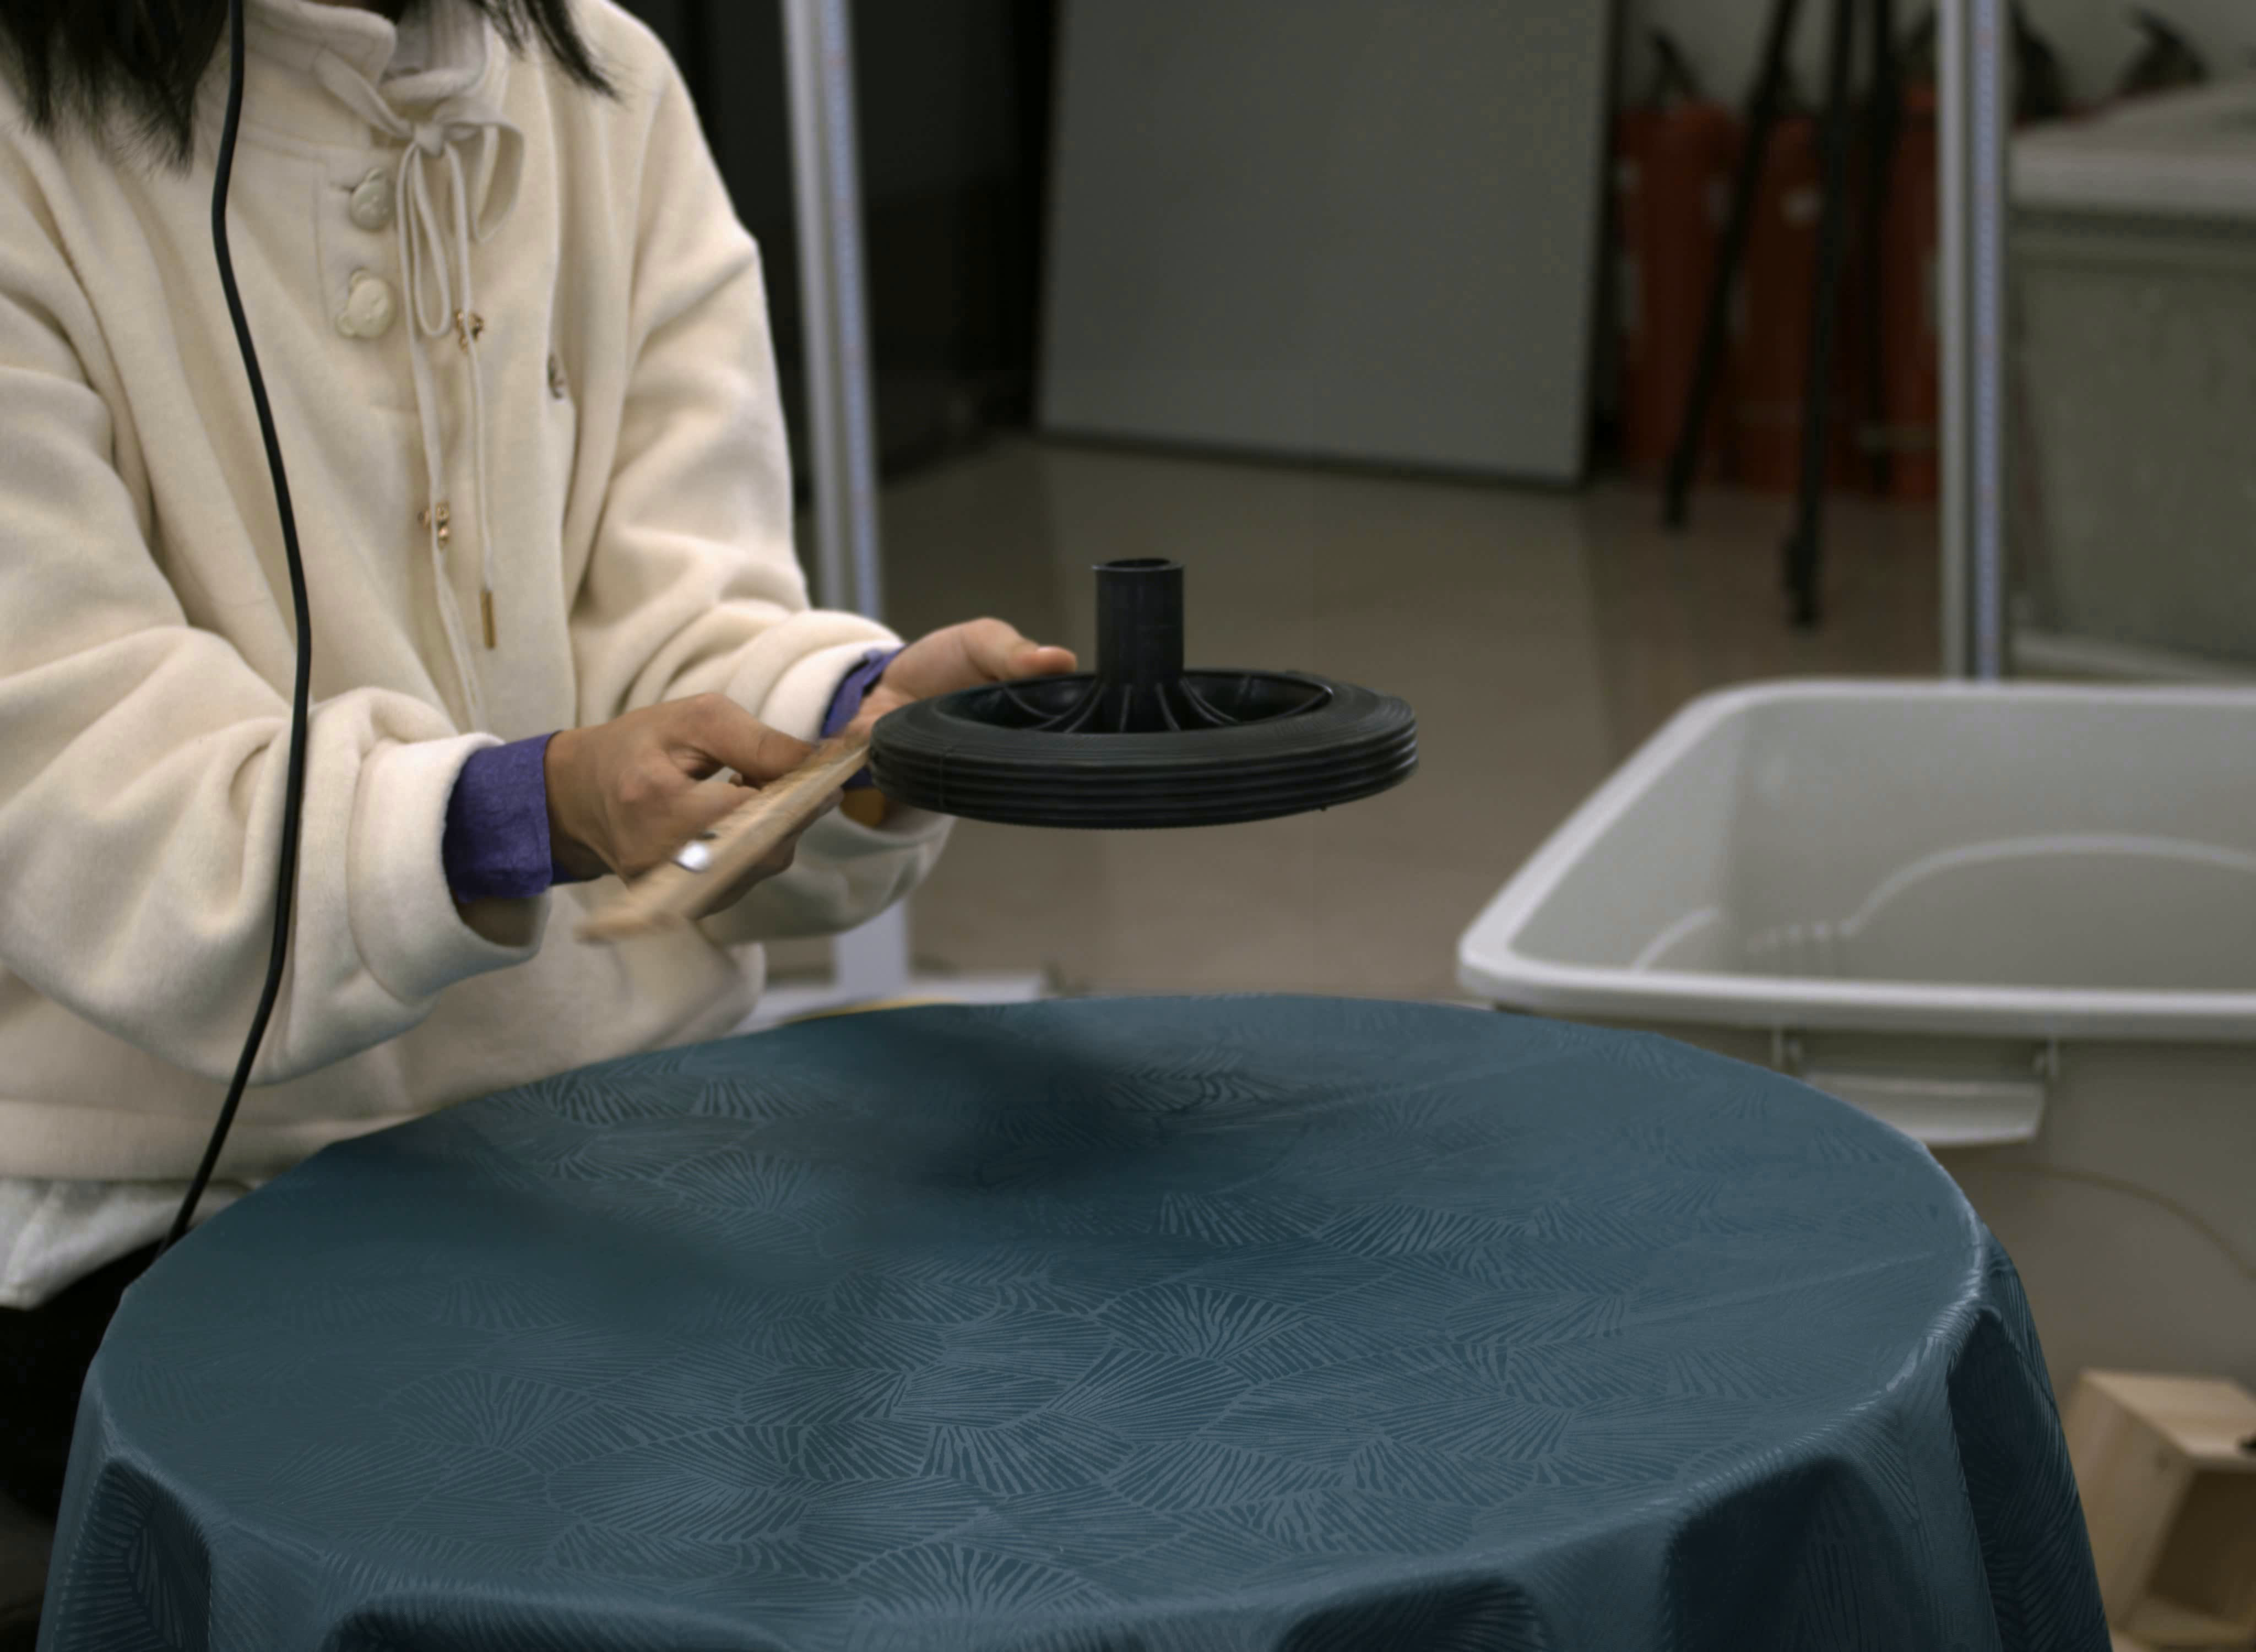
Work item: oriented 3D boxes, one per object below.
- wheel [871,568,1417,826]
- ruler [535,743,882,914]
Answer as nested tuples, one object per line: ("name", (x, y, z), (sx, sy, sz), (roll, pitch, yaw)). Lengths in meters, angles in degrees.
("wheel", (0.005, -0.046, 1.831), (0.184, 0.080, 0.190), (-3, 9, -7))
("ruler", (-0.115, -0.003, 1.577), (0.026, 0.006, 0.499), (-14, 3, 6))
